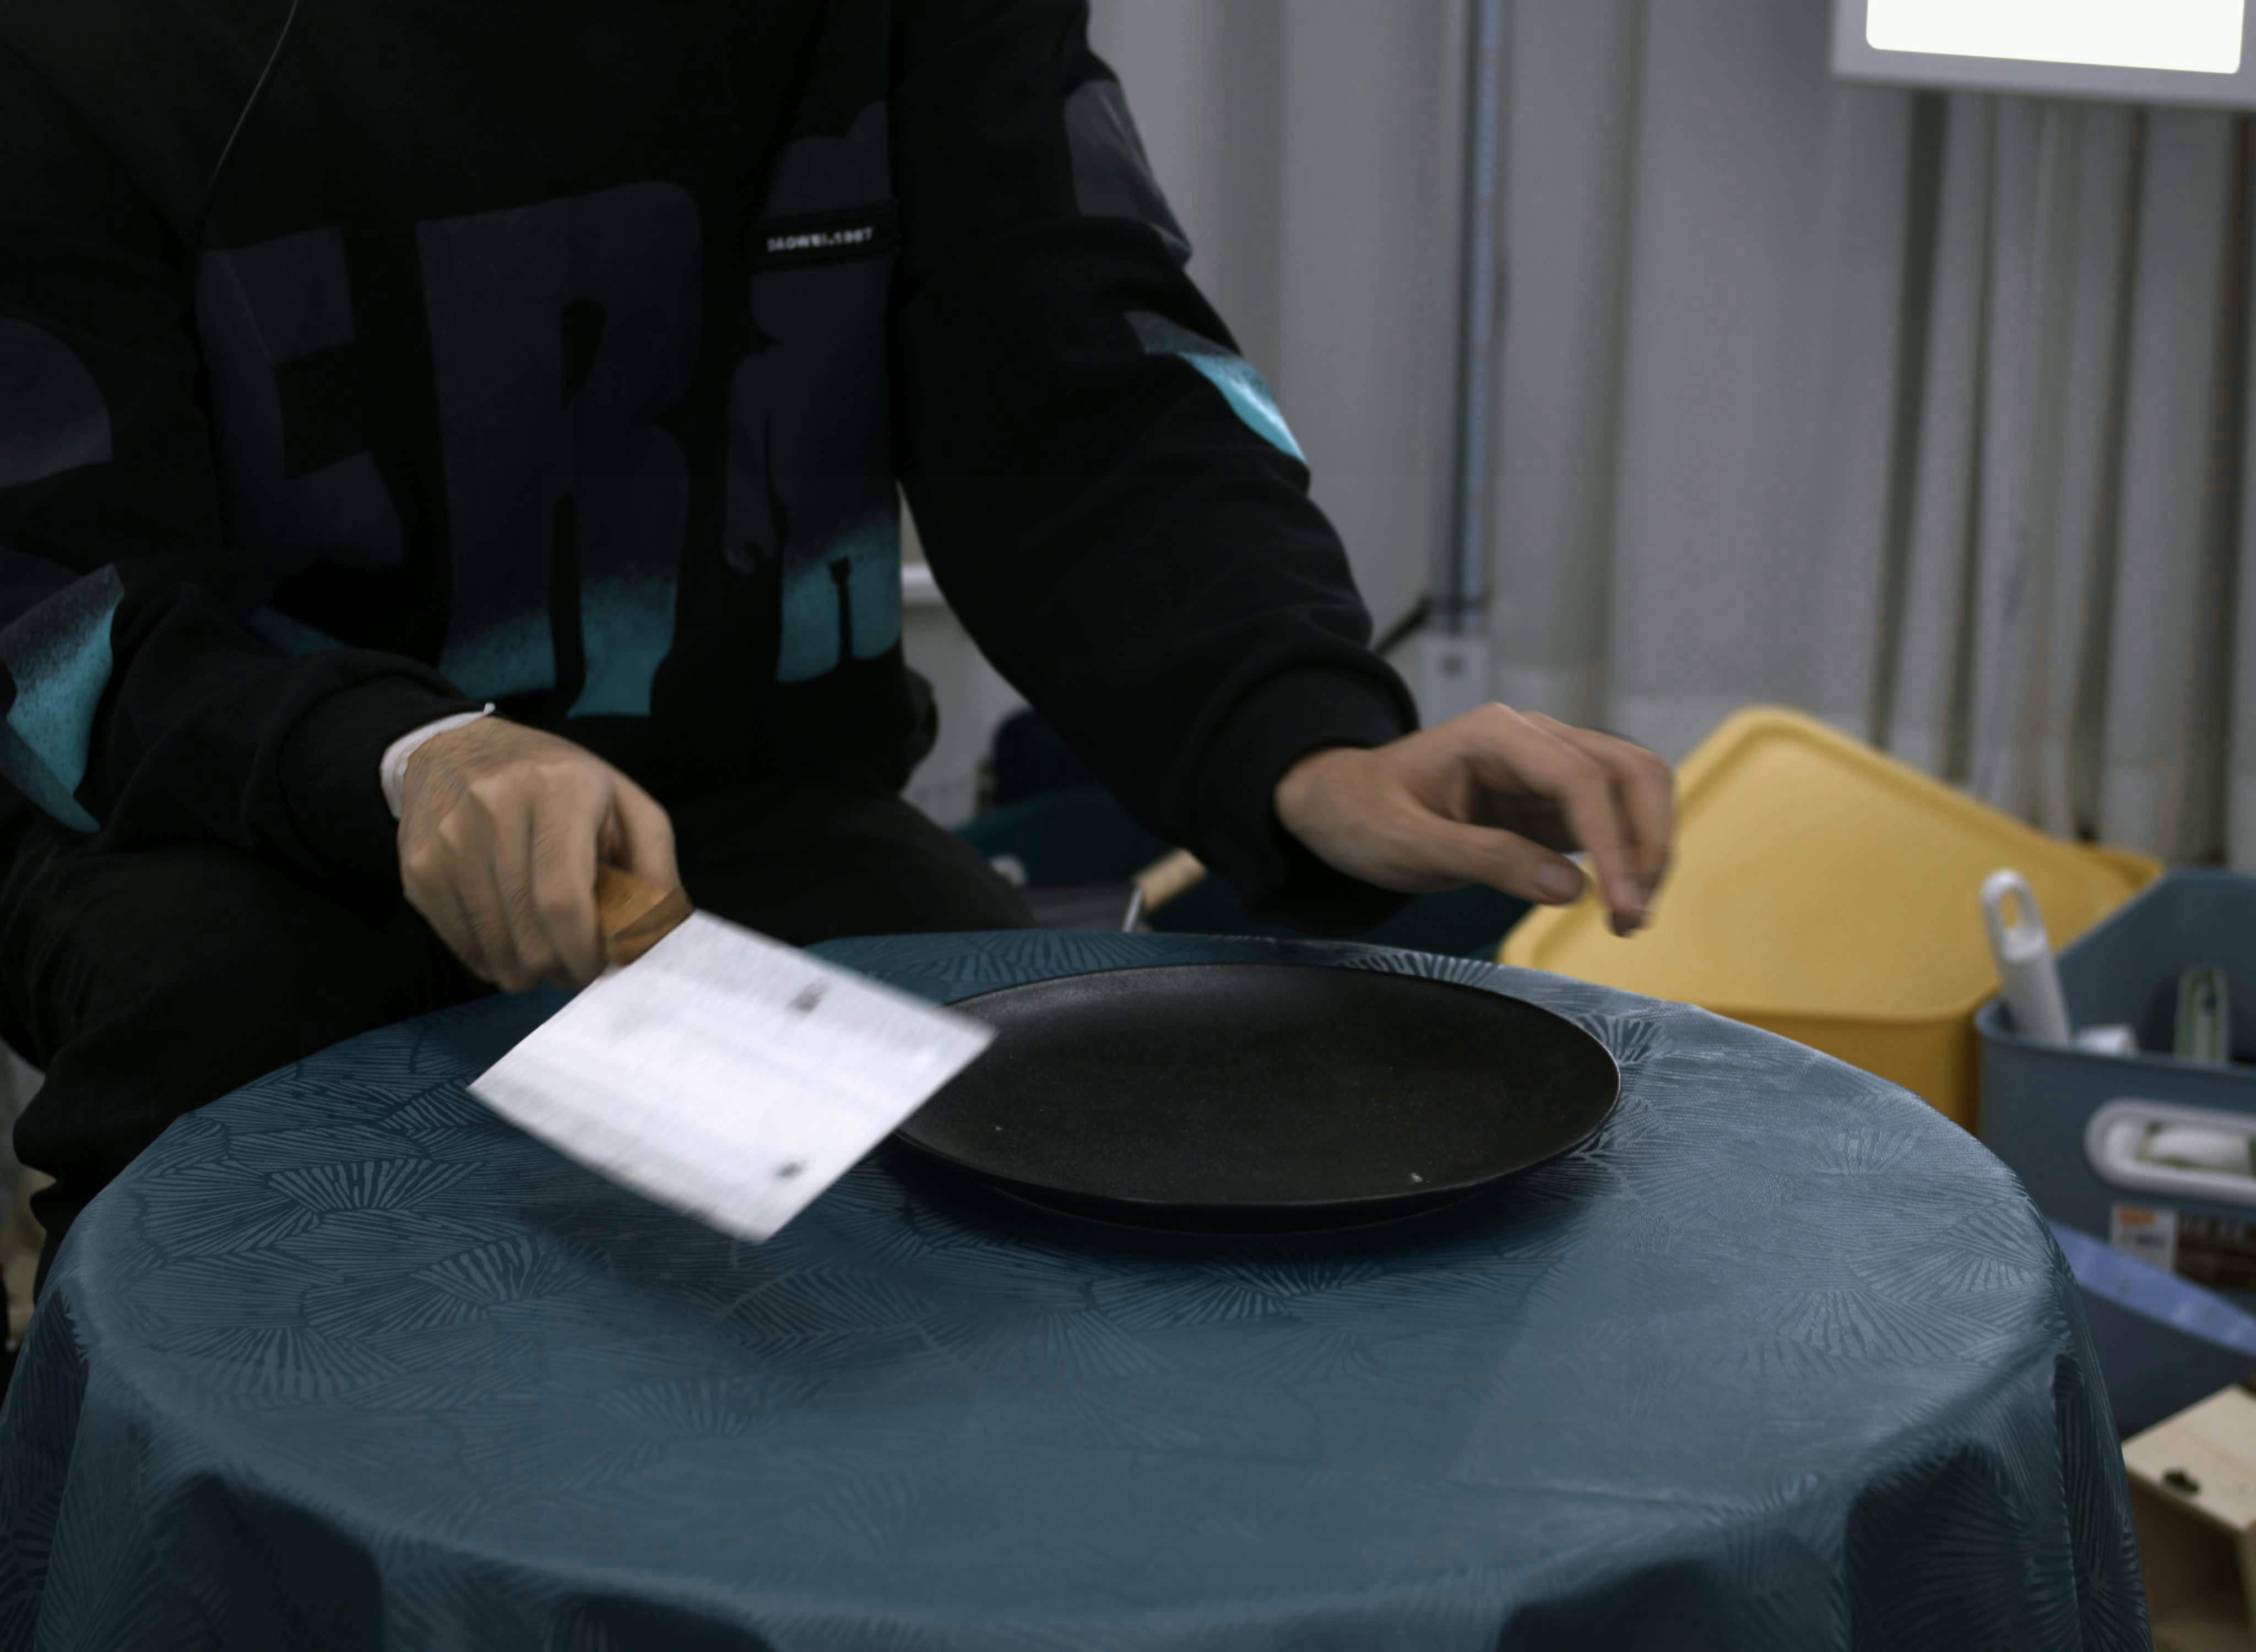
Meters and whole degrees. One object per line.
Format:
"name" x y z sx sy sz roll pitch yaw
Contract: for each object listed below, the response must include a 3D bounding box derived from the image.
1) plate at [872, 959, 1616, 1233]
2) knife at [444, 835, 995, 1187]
"plate" 0.033 0.088 1.666 0.243 0.023 0.243 1 16 0
"knife" -0.147 0.056 1.588 0.093 0.021 0.302 -43 30 -19
